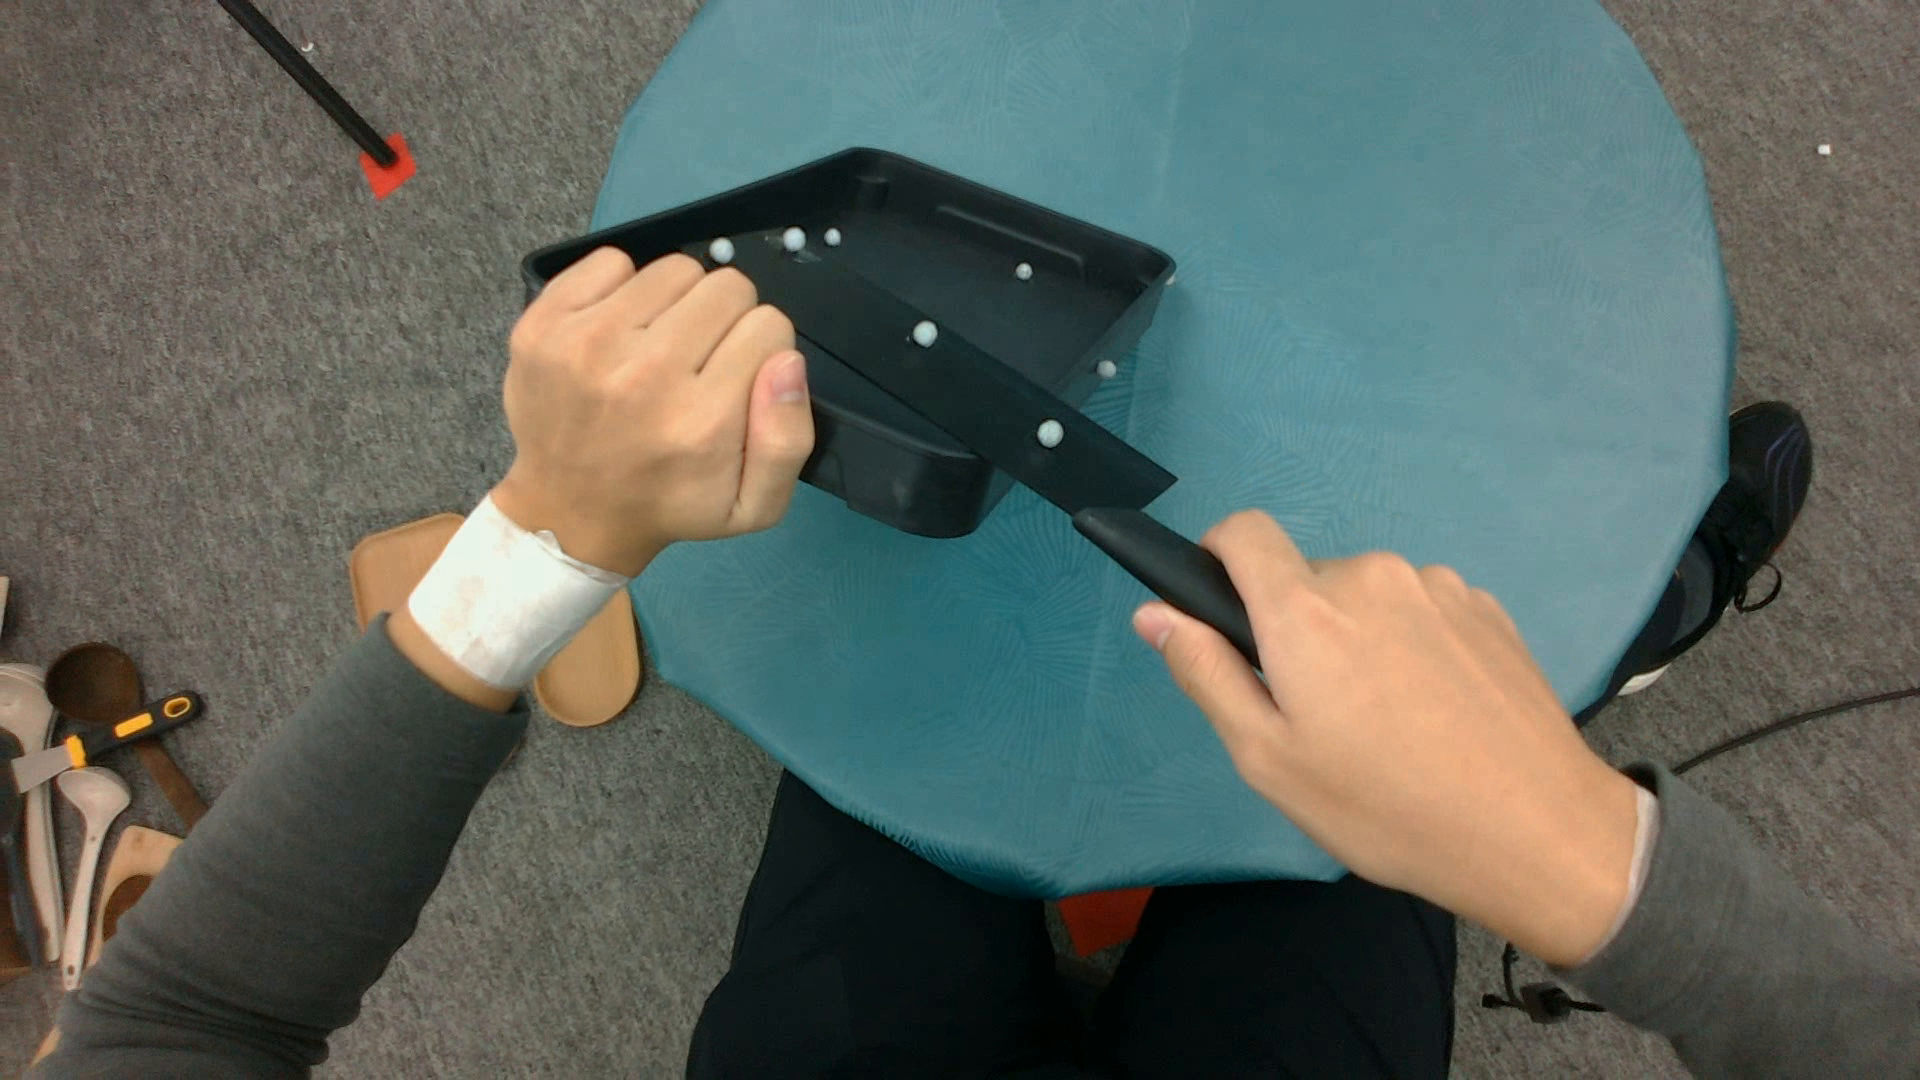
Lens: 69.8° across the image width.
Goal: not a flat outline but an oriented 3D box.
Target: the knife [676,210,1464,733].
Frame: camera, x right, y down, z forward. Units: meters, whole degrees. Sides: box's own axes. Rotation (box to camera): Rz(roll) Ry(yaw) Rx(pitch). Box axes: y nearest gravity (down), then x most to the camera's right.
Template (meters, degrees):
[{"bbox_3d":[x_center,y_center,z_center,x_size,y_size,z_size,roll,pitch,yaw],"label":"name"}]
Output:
[{"bbox_3d":[0.032,-0.034,0.460,0.302,0.081,0.021,37,123,18],"label":"knife"}]

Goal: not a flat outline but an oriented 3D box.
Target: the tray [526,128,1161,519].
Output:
[{"bbox_3d":[-0.028,-0.112,0.594,0.184,0.319,0.037,21,119,9],"label":"tray"}]
